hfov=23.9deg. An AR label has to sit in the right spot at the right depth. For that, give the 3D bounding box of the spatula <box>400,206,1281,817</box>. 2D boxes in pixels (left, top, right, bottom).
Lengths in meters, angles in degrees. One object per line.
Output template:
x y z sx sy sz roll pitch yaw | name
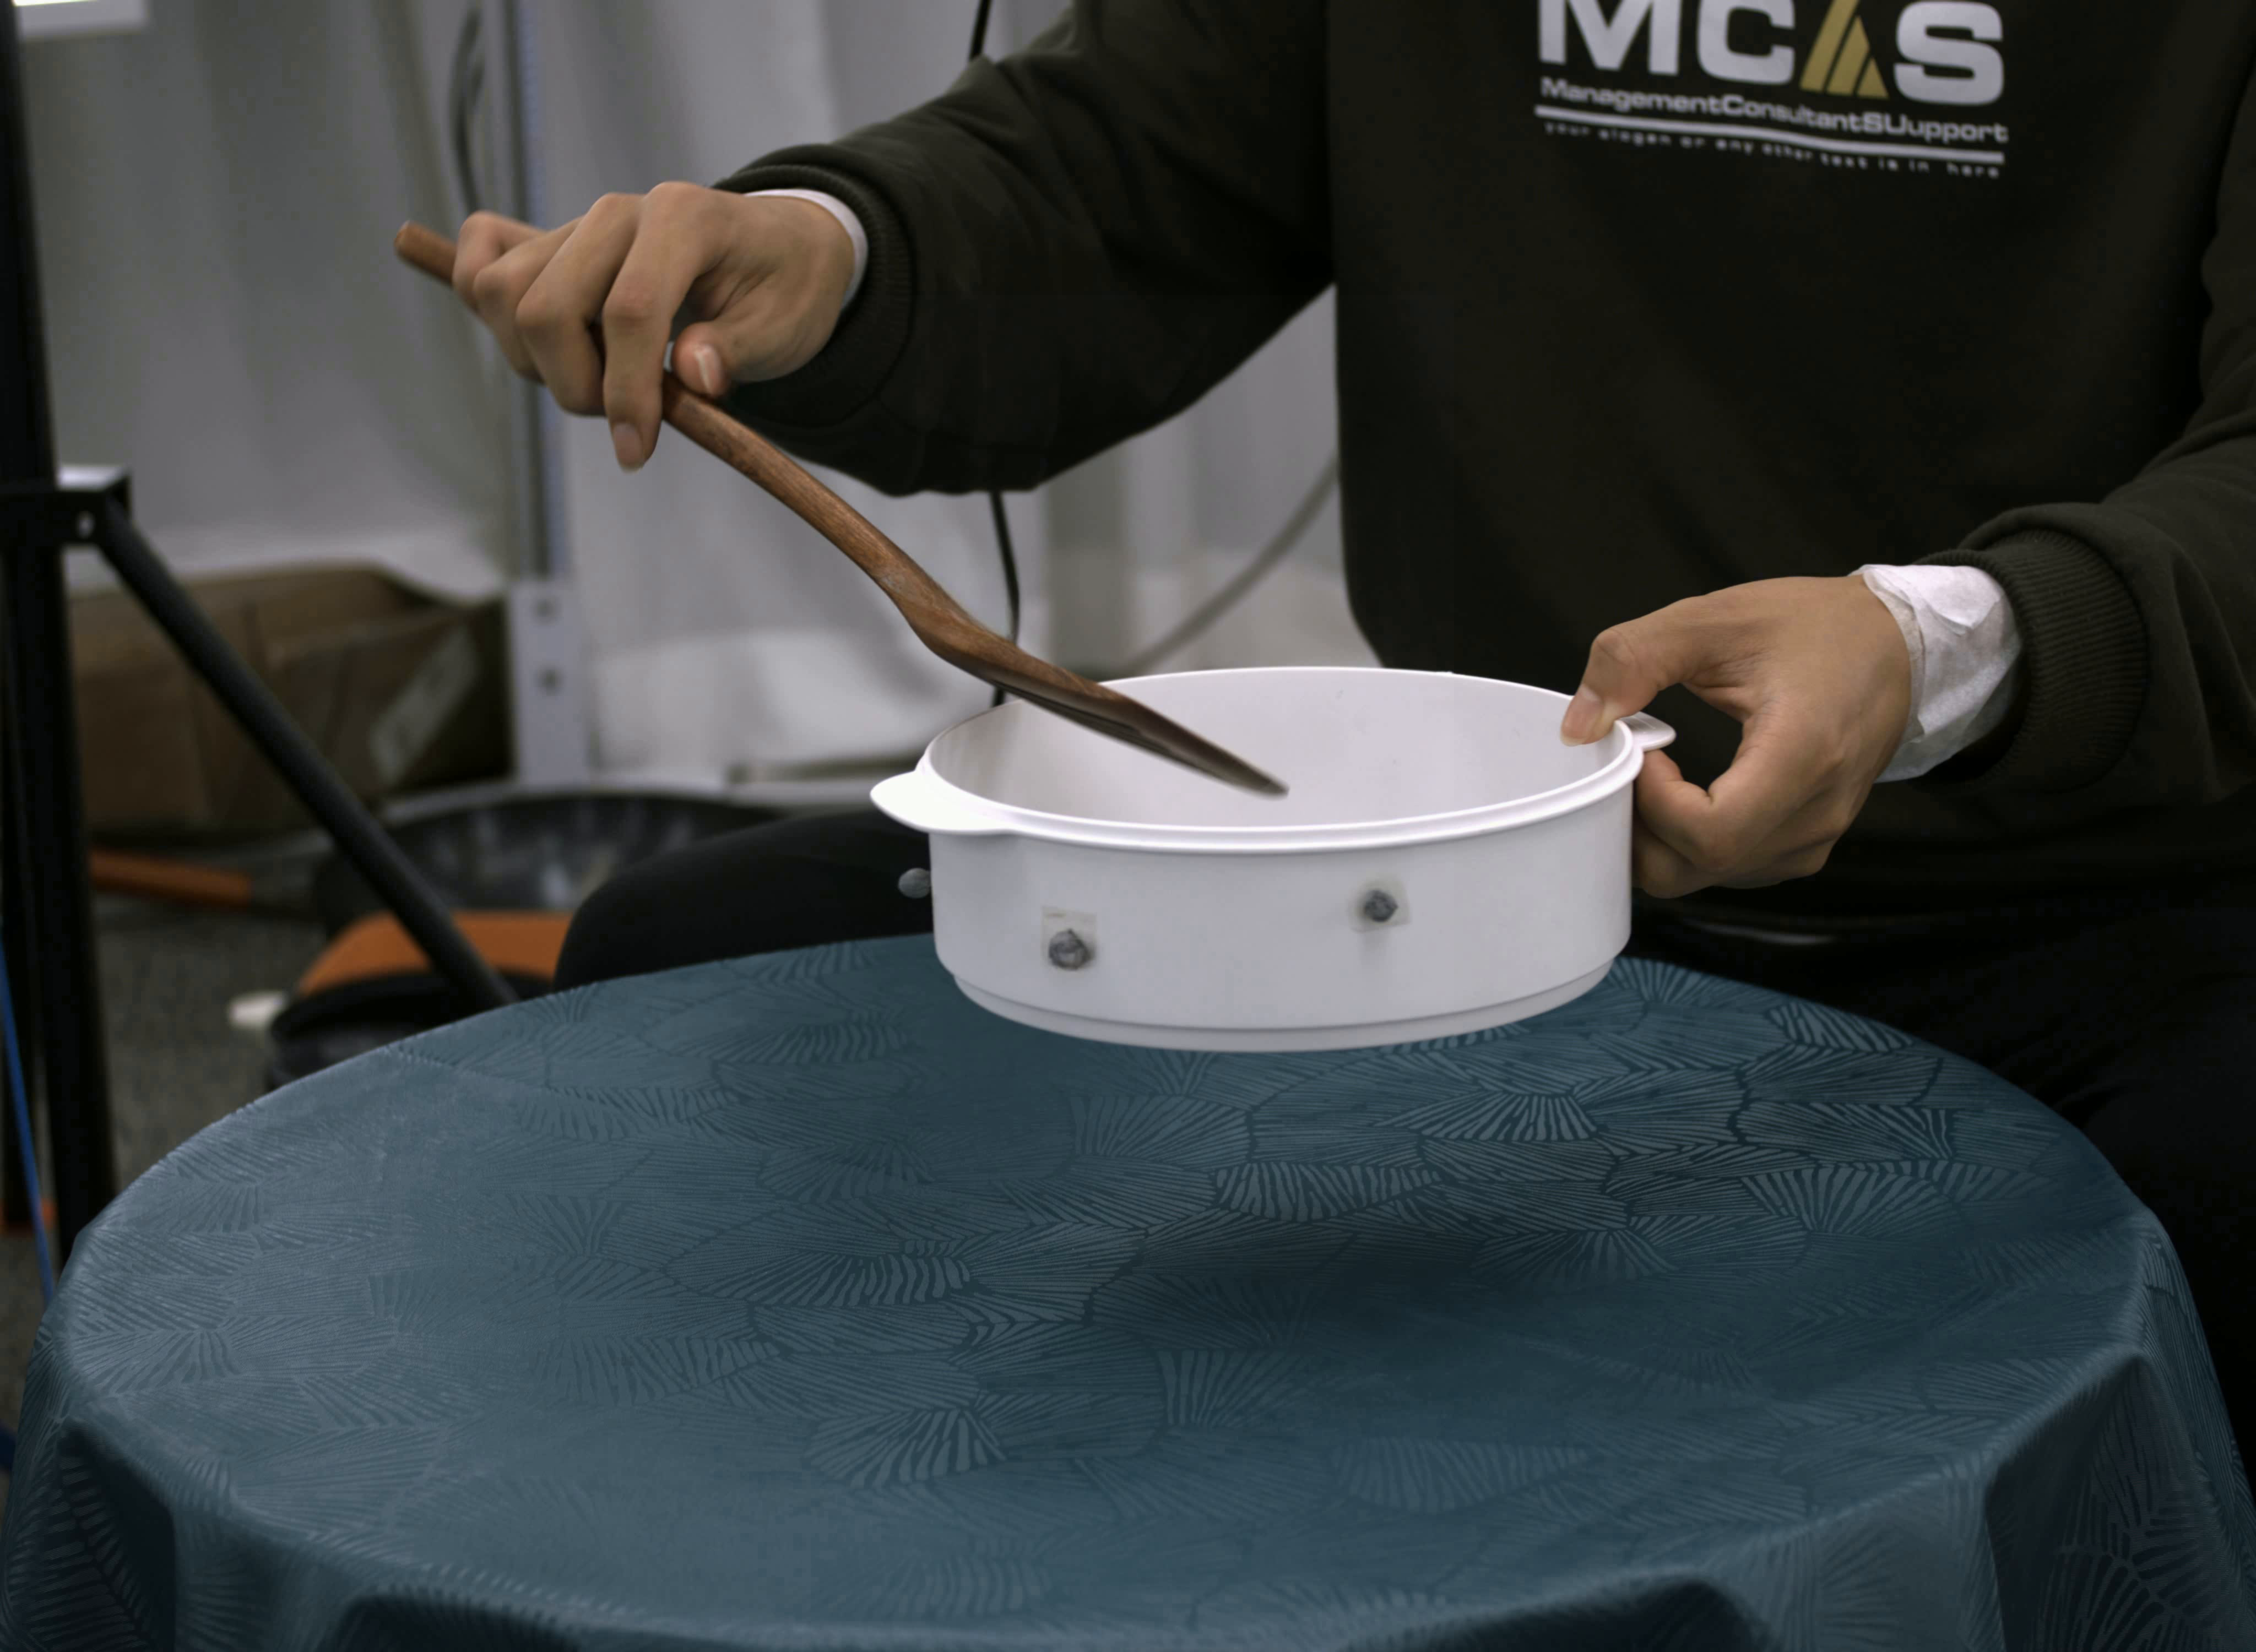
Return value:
-0.101 -0.098 1.562 0.394 0.024 0.084 37 1 38 | spatula

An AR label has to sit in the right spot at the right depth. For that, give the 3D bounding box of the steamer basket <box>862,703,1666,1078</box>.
0.038 0.018 1.470 0.226 0.069 0.205 -3 13 -21 | steamer basket
